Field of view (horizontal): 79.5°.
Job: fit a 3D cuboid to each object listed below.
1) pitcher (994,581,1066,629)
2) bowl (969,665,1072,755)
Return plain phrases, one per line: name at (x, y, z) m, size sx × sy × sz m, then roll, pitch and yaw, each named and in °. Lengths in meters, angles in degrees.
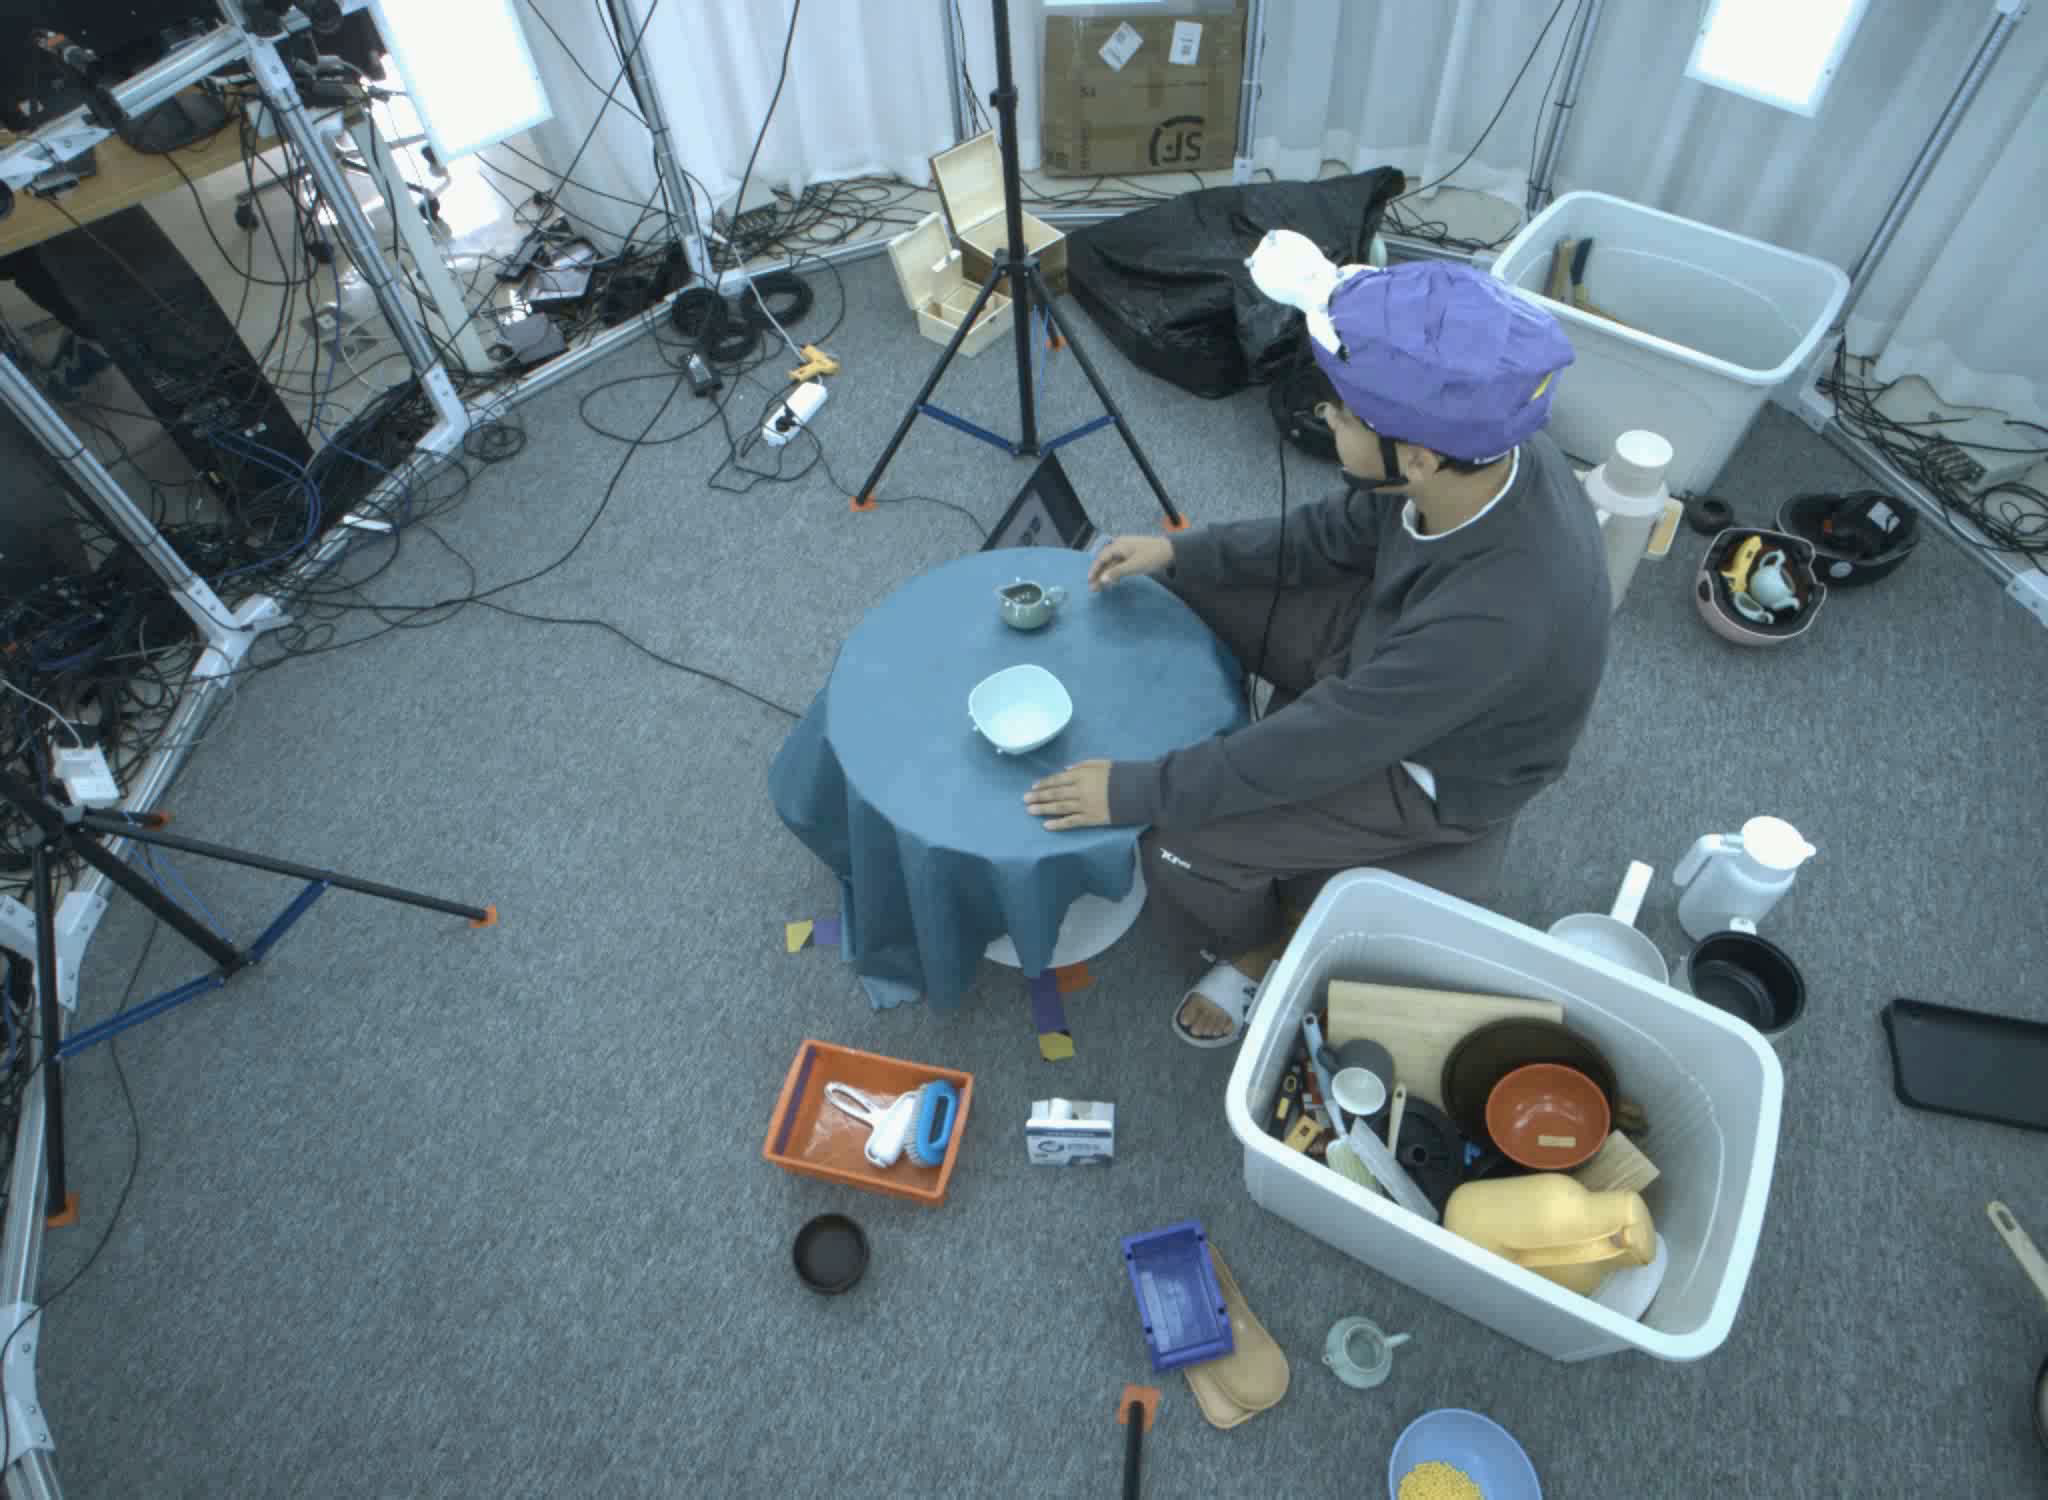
pitcher at (0.010, -0.231, 1.918) m, size 0.113 × 0.057 × 0.083 m, roll -4°, pitch 55°, yaw -2°
bowl at (-0.004, -0.048, 1.788) m, size 0.151 × 0.059 × 0.150 m, roll -1°, pitch 55°, yaw 3°
